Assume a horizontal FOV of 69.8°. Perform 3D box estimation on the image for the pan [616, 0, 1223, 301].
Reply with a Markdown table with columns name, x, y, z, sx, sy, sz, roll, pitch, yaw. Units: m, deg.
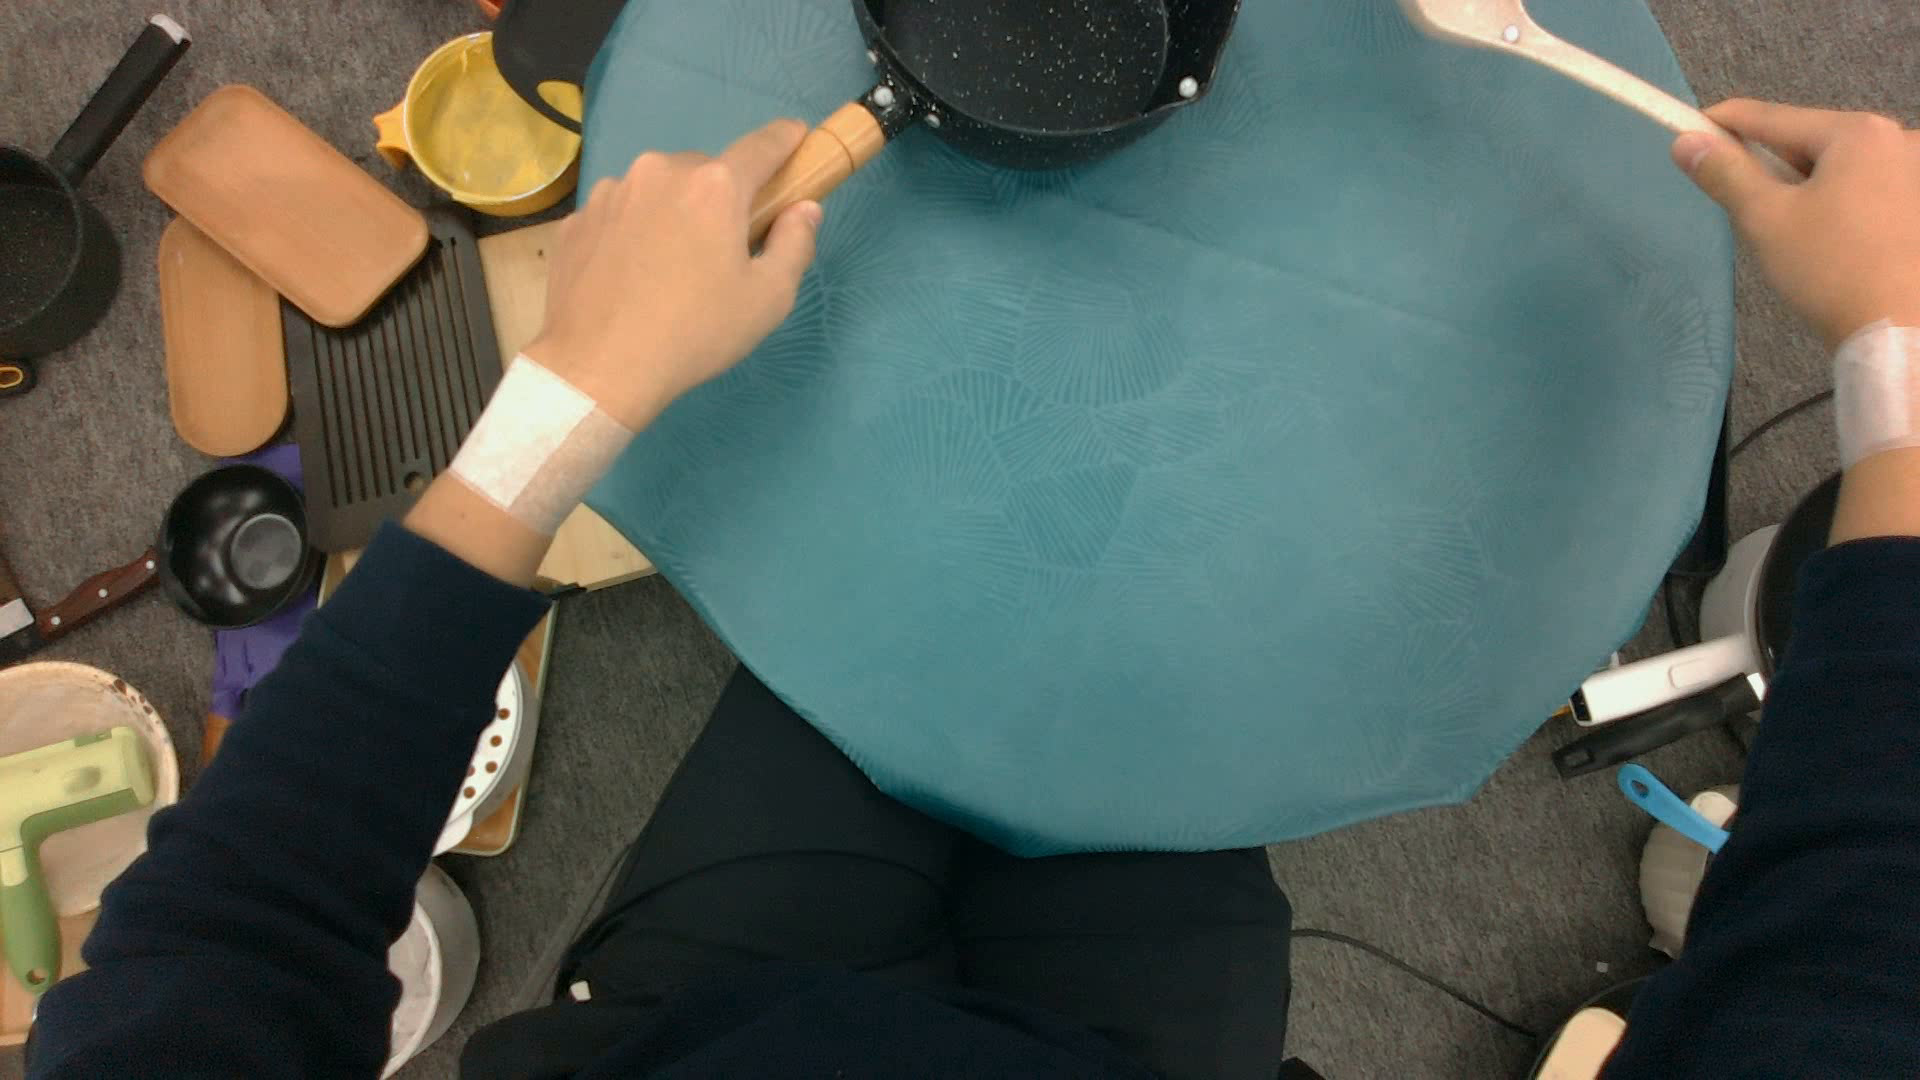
| name | x | y | z | sx | sy | sz | roll | pitch | yaw |
| --- | --- | --- | --- | --- | --- | --- | --- | --- | --- |
| pan | -0.022 | -0.219 | 0.645 | 0.207 | 0.108 | 0.343 | 44 | 80 | 0 |

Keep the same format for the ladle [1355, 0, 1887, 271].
| name | x | y | z | sx | sy | sz | roll | pitch | yaw |
| --- | --- | --- | --- | --- | --- | --- | --- | --- | --- |
| ladle | 0.301 | -0.215 | 0.621 | 0.275 | 0.069 | 0.090 | 38 | 62 | 21 |
